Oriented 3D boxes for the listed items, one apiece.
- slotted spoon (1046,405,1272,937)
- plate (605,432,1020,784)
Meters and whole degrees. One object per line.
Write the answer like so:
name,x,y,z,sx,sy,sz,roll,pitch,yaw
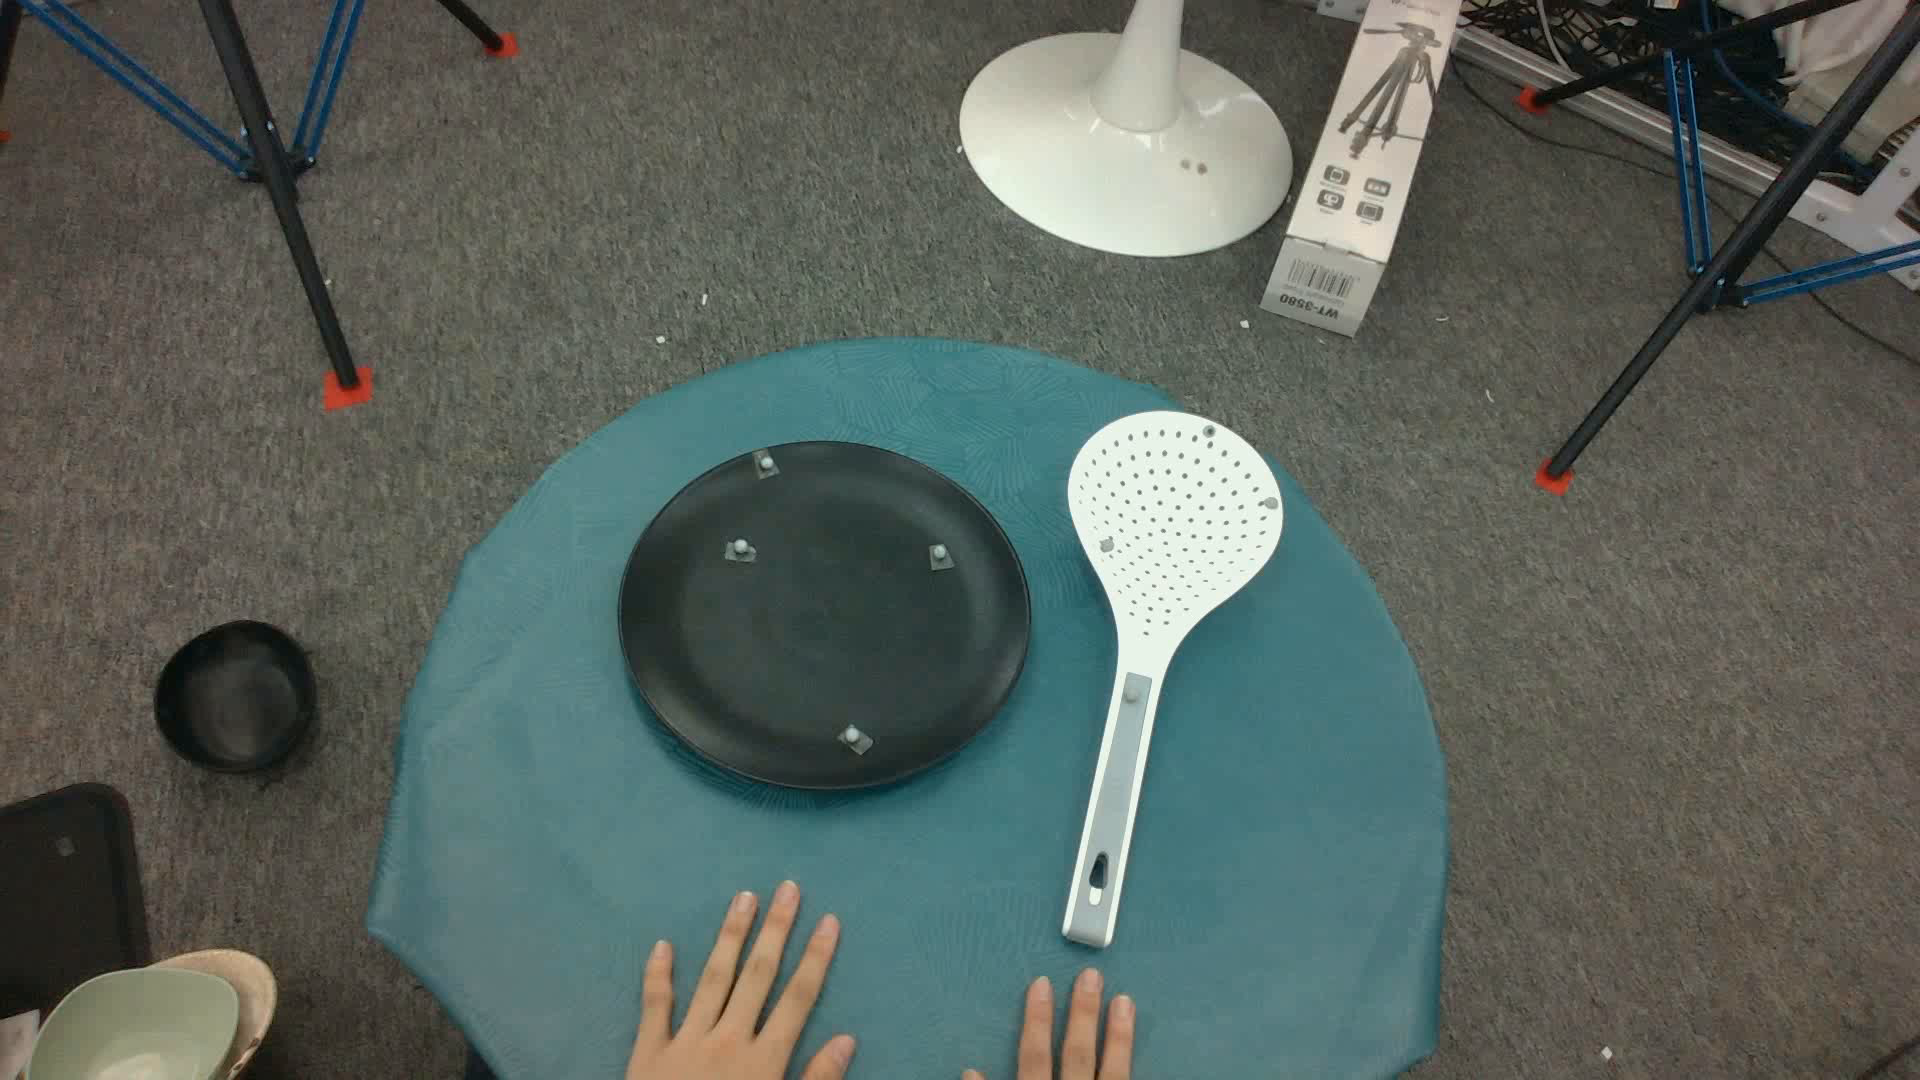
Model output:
slotted spoon,0.102,0.063,0.817,0.136,0.045,0.351,14,55,4
plate,-0.086,0.036,0.820,0.244,0.023,0.245,4,55,-6
